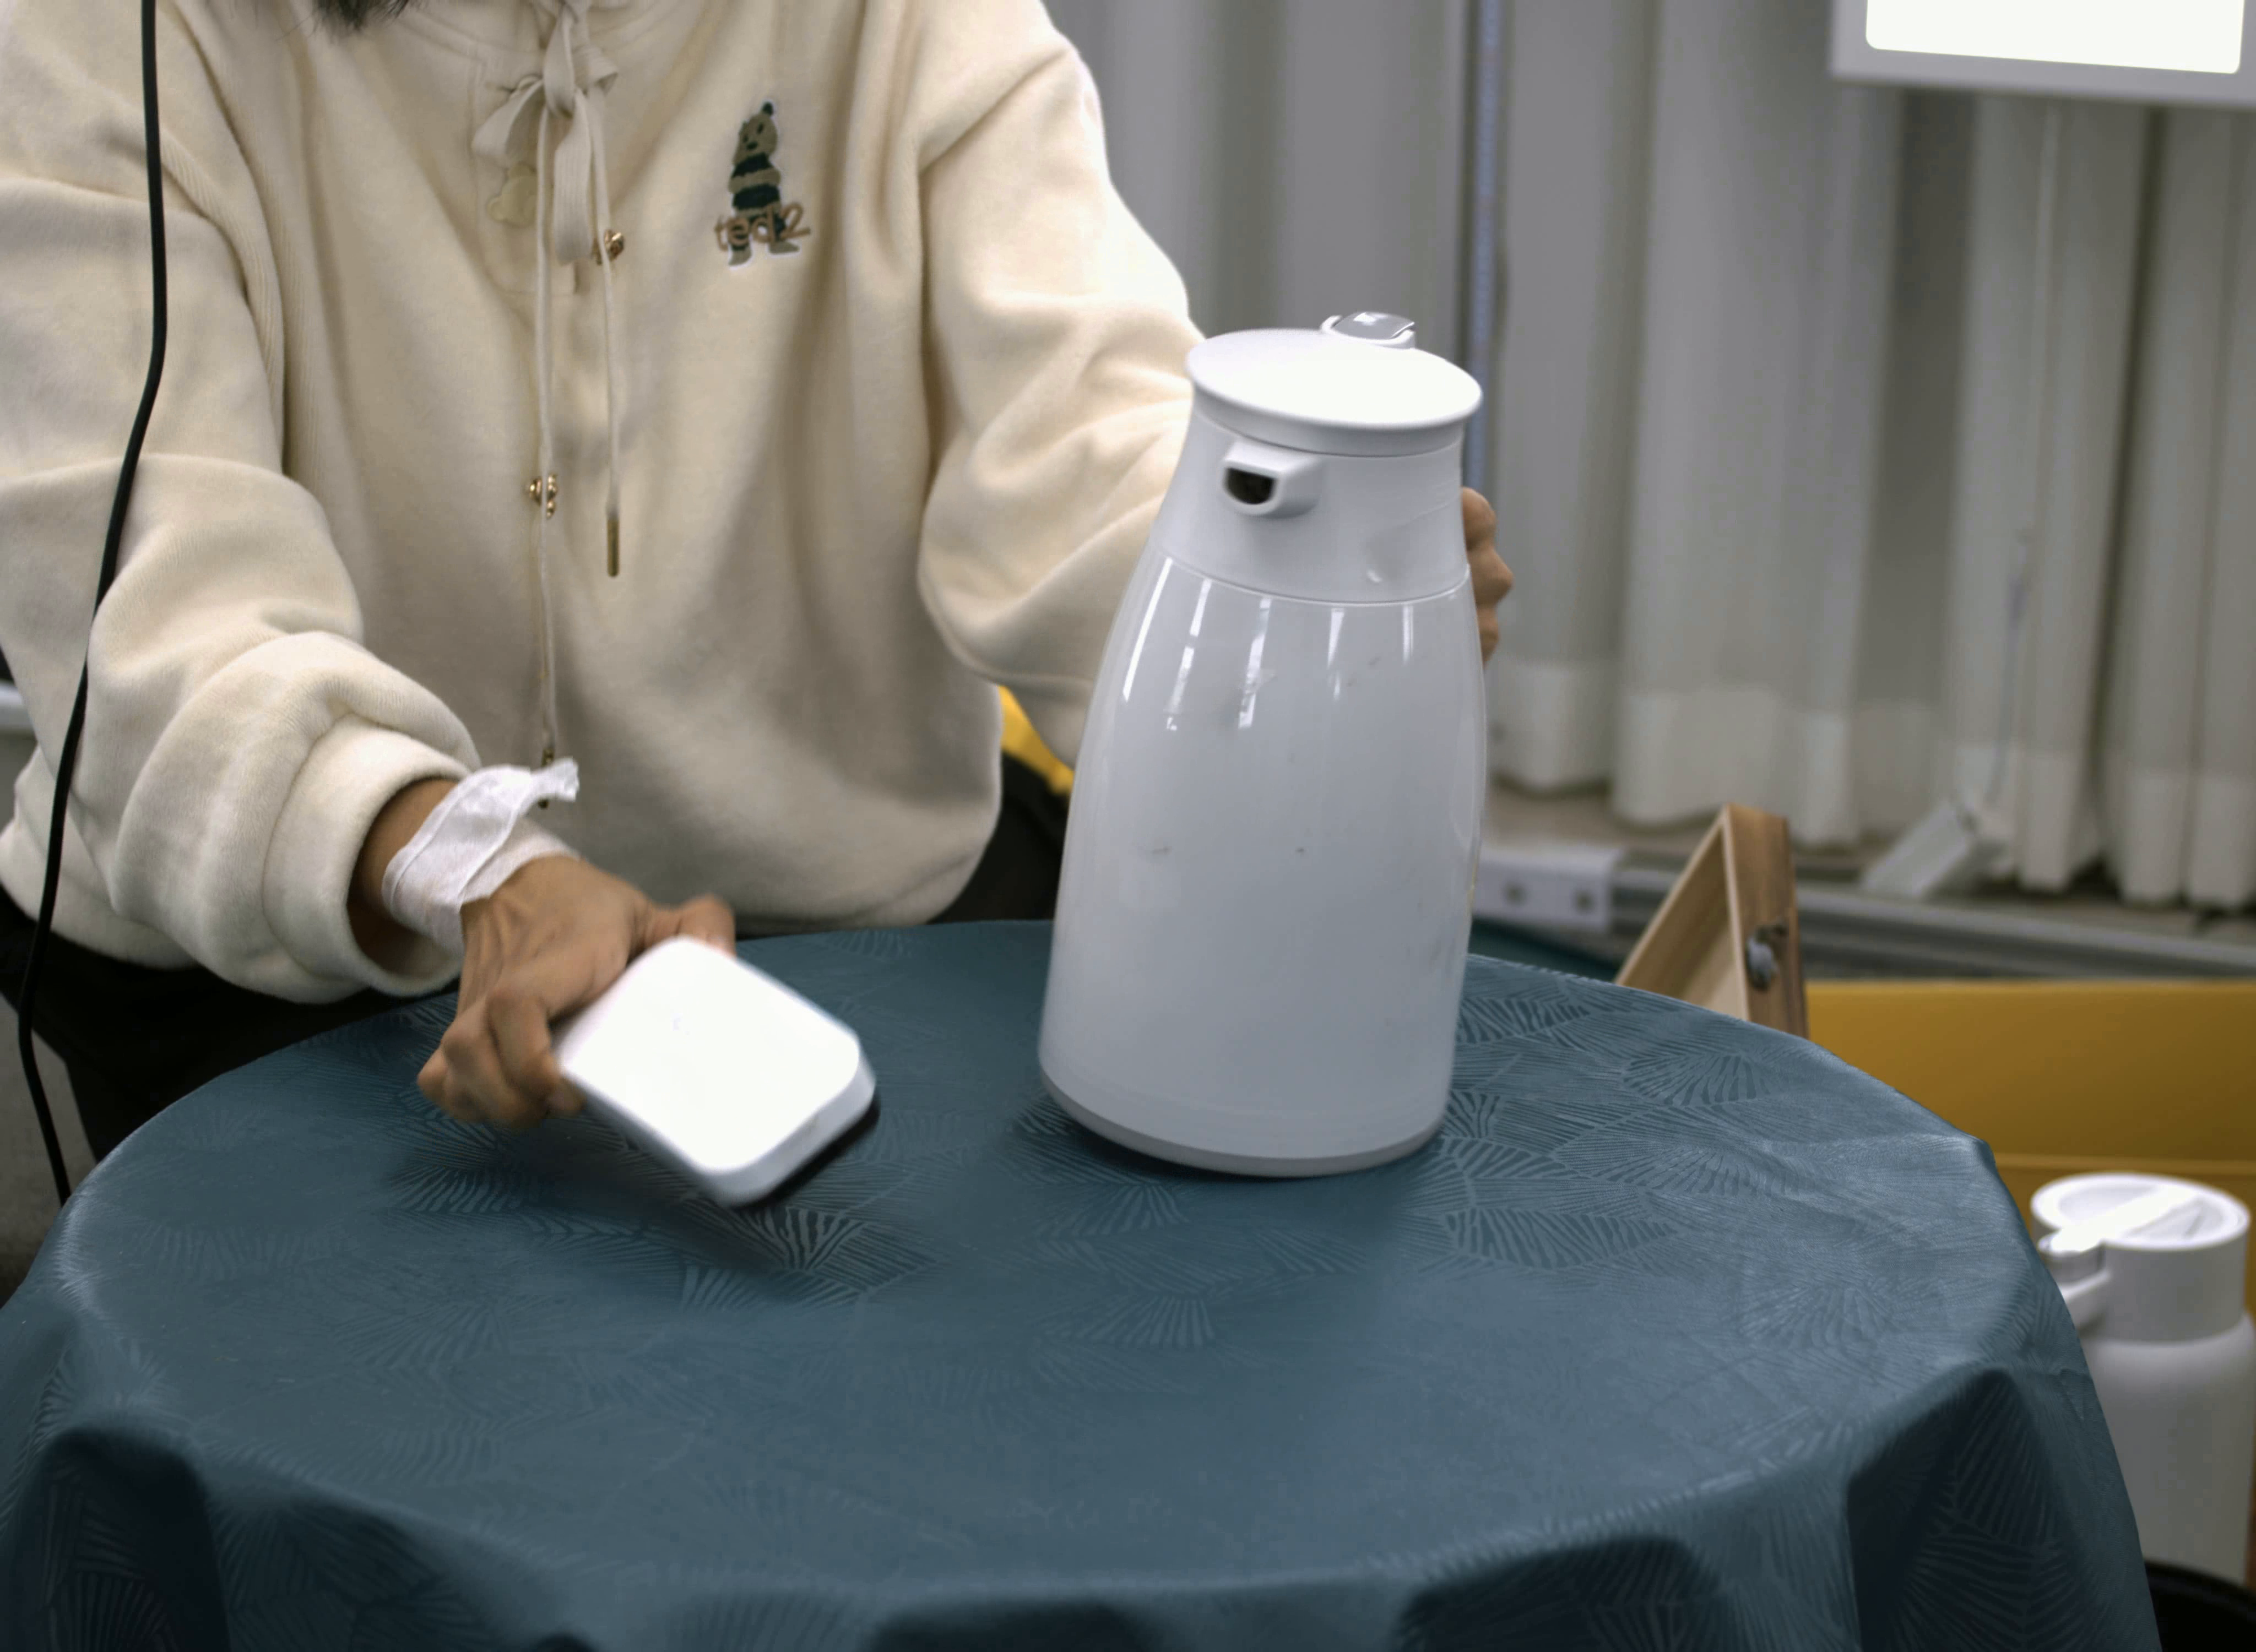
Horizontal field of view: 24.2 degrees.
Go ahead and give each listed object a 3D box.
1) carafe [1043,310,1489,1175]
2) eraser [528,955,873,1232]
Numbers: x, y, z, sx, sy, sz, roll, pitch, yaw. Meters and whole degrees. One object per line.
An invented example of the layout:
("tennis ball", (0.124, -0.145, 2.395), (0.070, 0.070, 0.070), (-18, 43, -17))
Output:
("carafe", (0.057, -0.036, 1.657), (0.131, 0.251, 0.168), (13, 22, 19))
("eraser", (-0.129, 0.077, 1.589), (0.063, 0.035, 0.129), (-36, 33, -18))
